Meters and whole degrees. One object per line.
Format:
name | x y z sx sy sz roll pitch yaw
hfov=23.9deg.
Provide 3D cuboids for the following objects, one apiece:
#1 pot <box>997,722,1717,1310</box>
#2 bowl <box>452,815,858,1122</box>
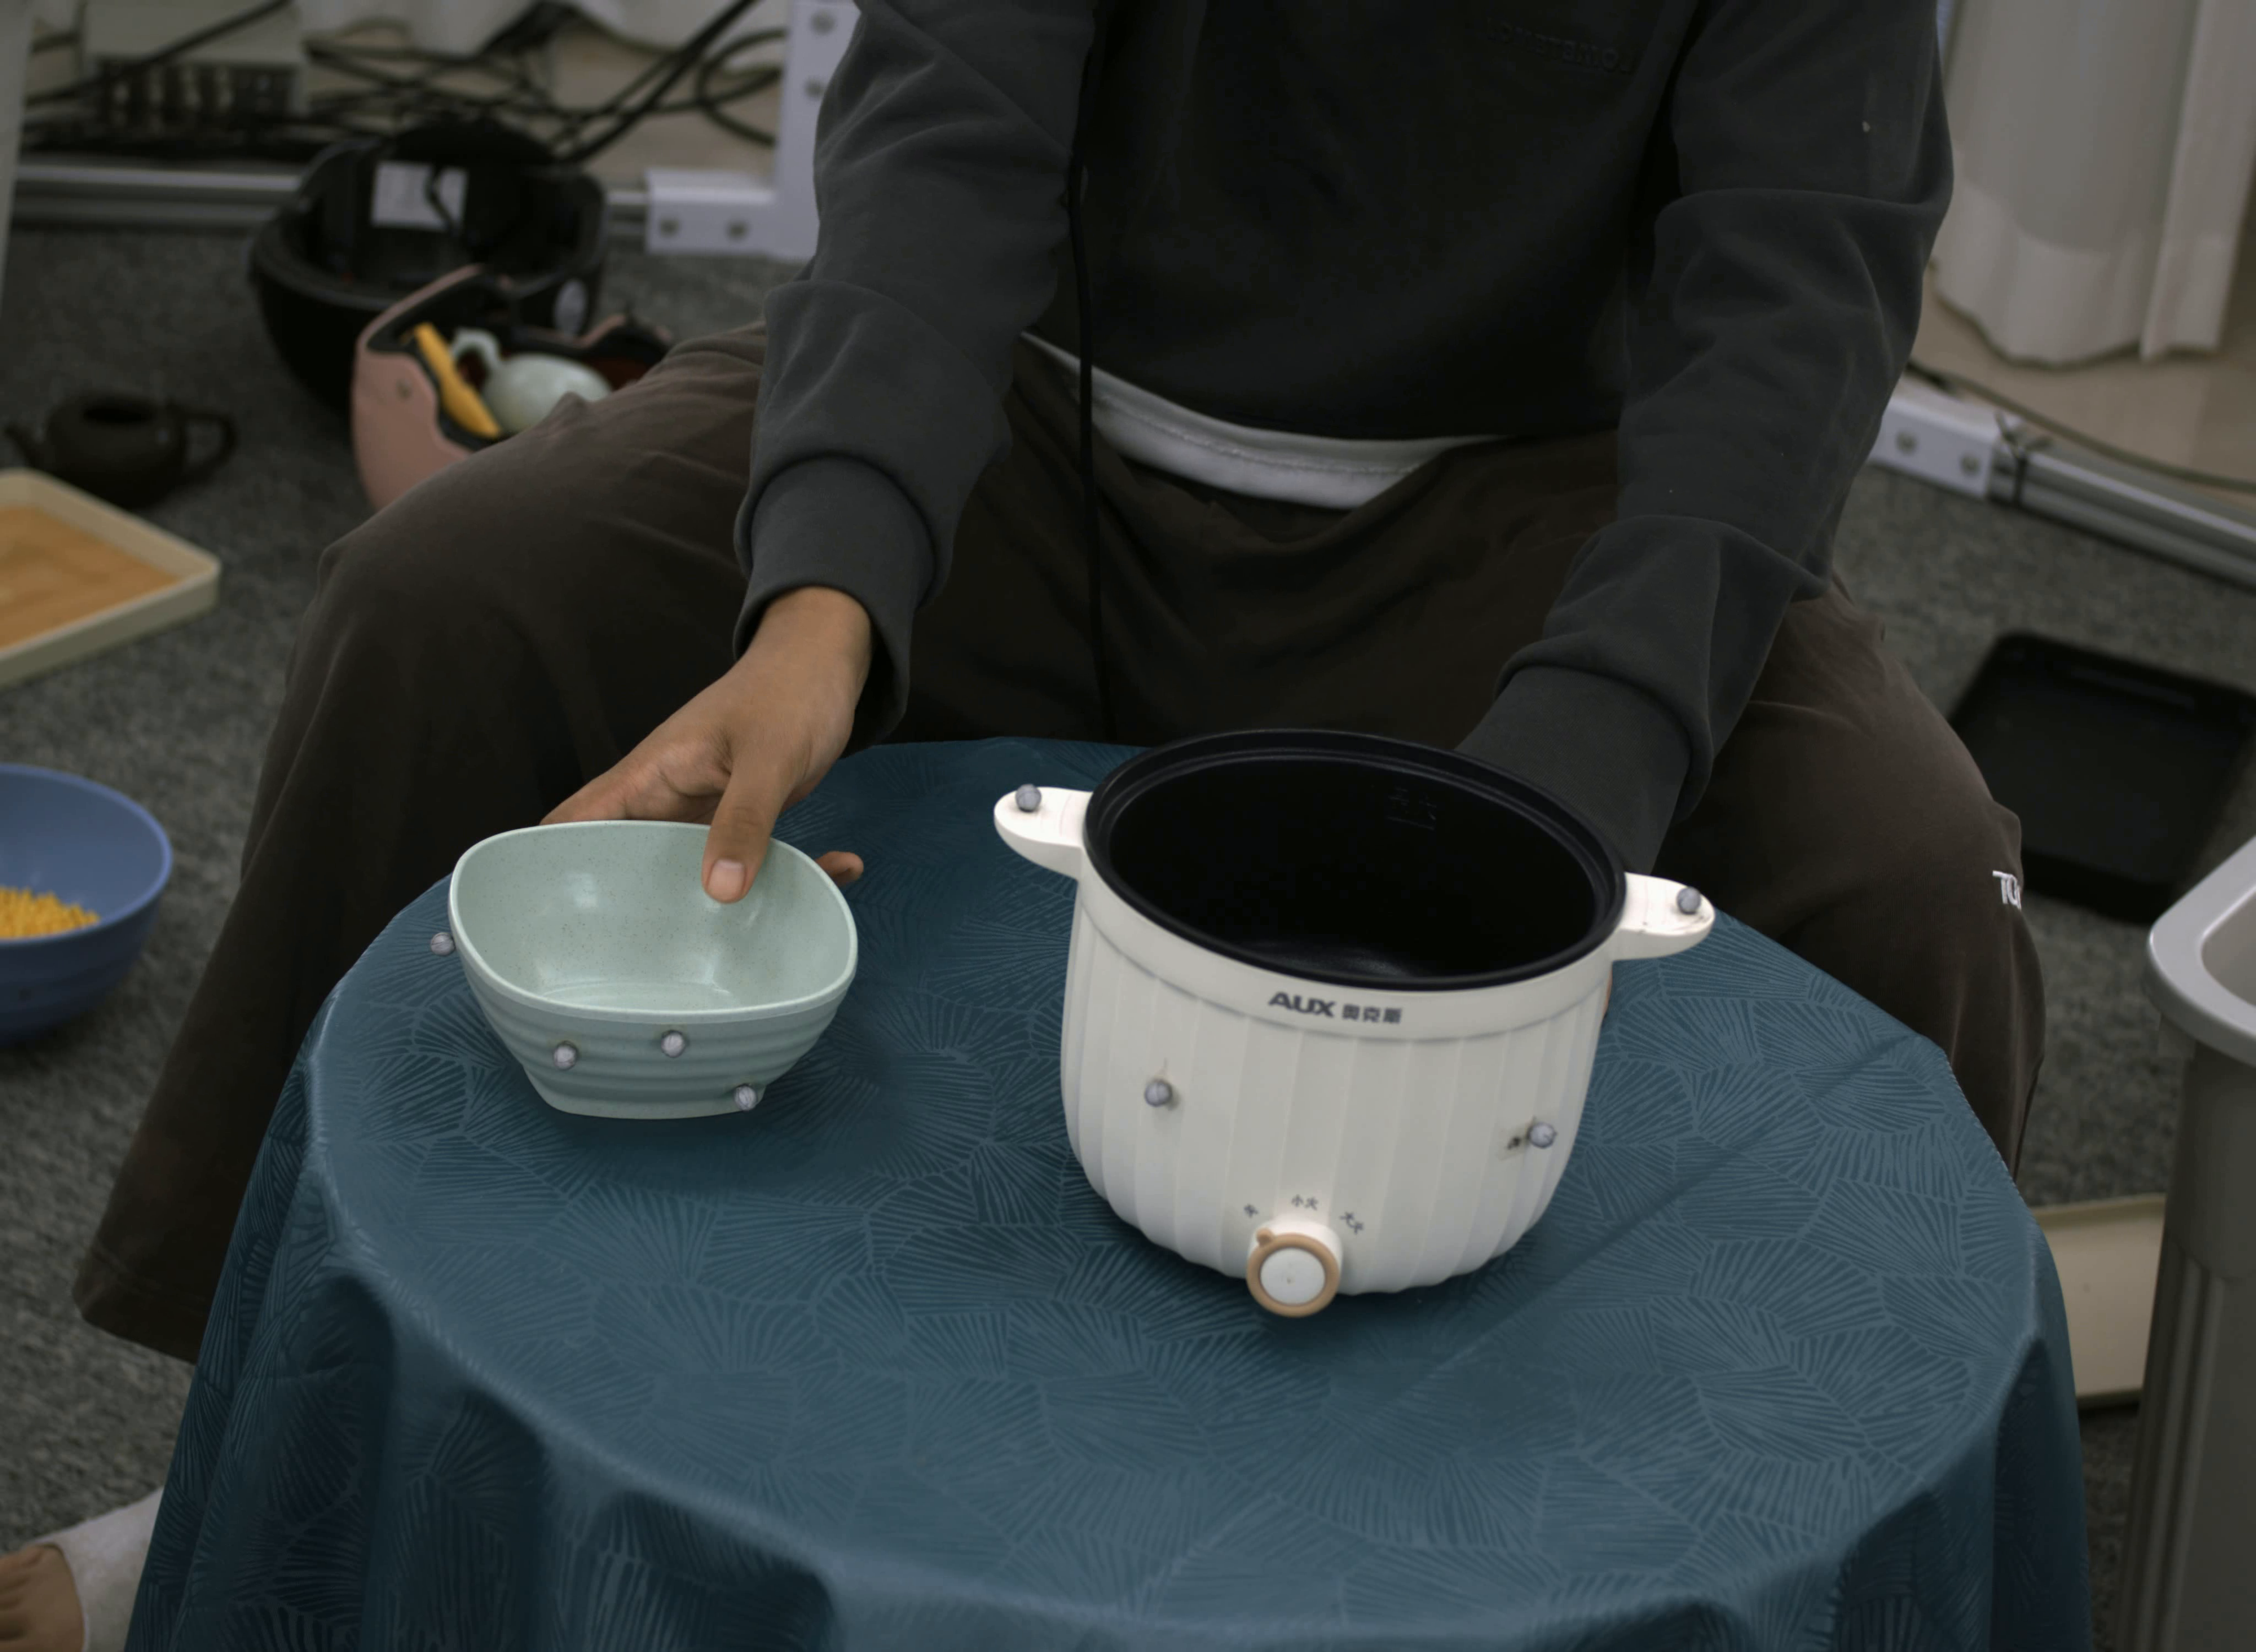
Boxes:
pot | 0.070 0.067 1.780 0.240 0.142 0.191 6 23 2
bowl | -0.165 0.055 1.840 0.151 0.058 0.152 6 29 -3
